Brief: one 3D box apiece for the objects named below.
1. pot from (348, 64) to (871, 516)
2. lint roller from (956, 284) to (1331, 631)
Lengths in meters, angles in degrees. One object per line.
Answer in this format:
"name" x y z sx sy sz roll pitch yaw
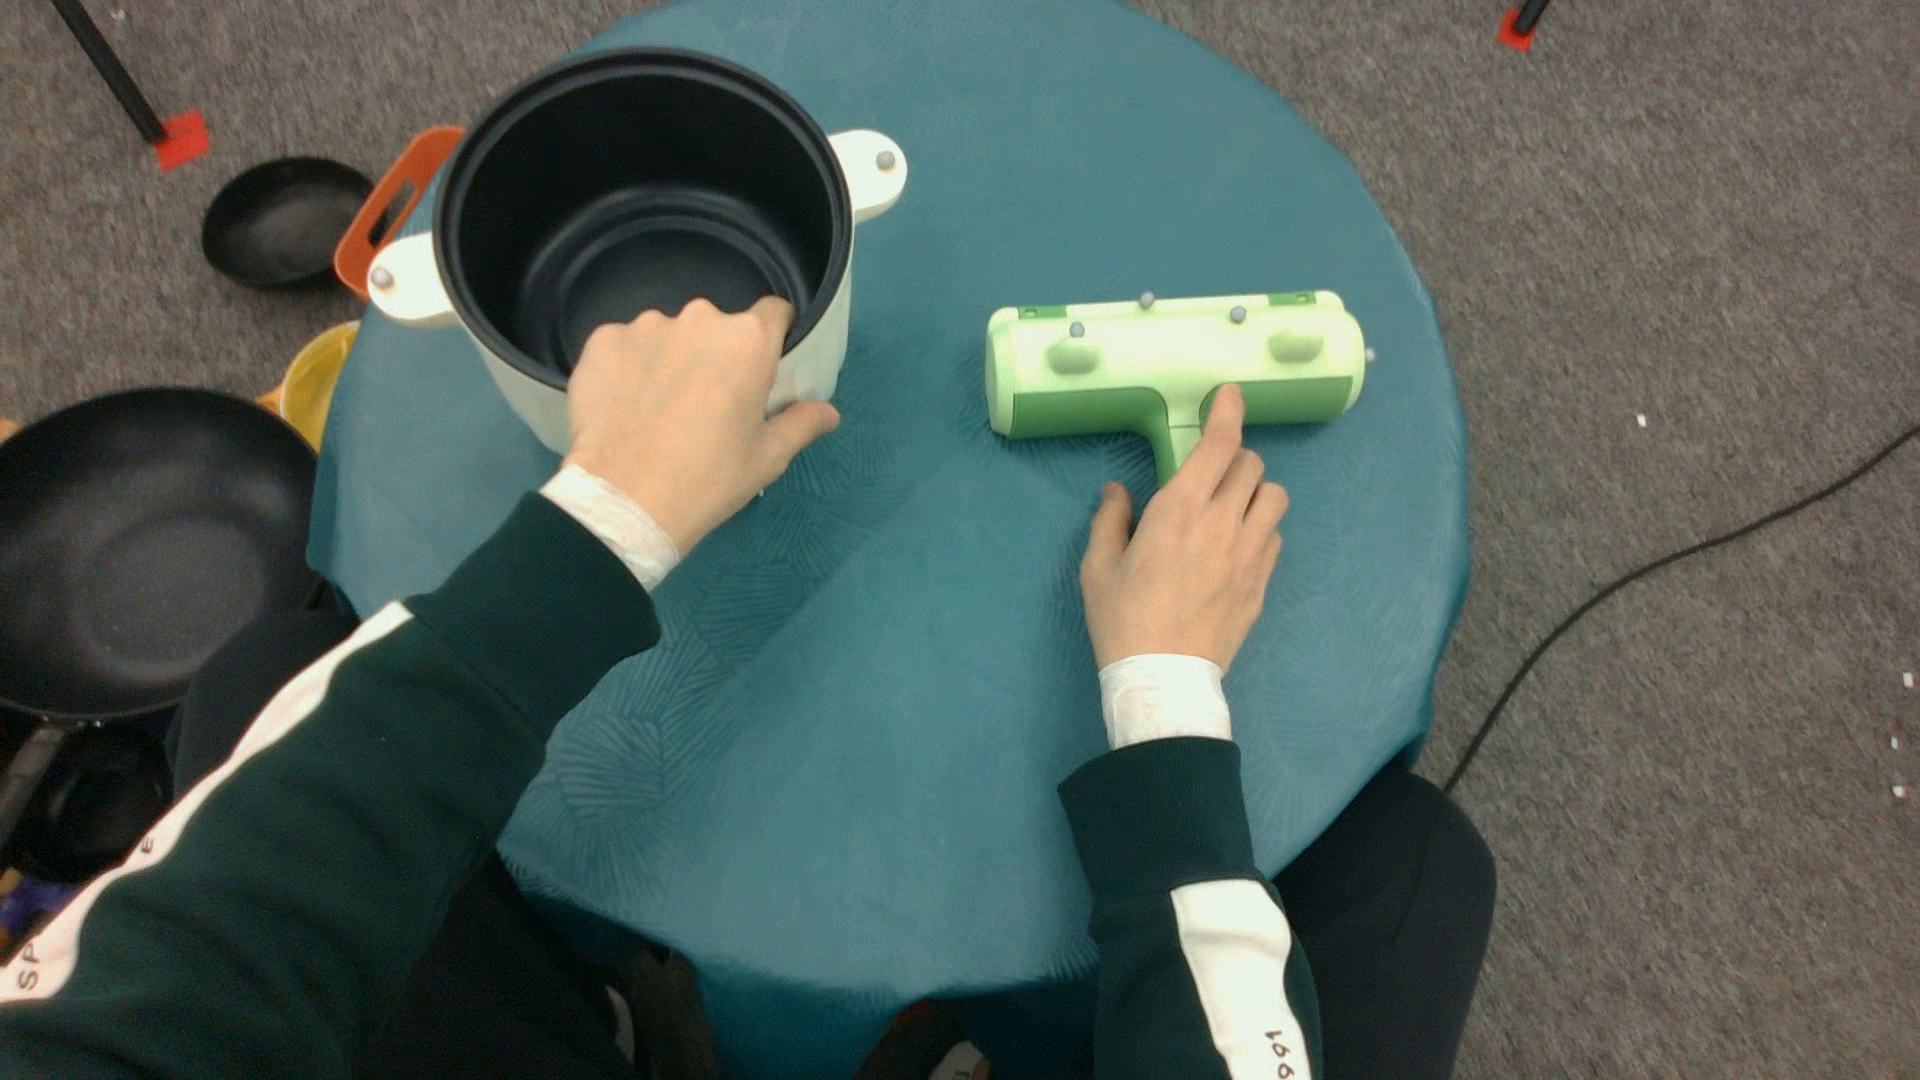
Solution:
"pot" -0.161 -0.120 0.676 0.241 0.142 0.191 -20 74 -14
"lint roller" 0.105 -0.050 0.705 0.199 0.082 0.184 -5 63 -7
